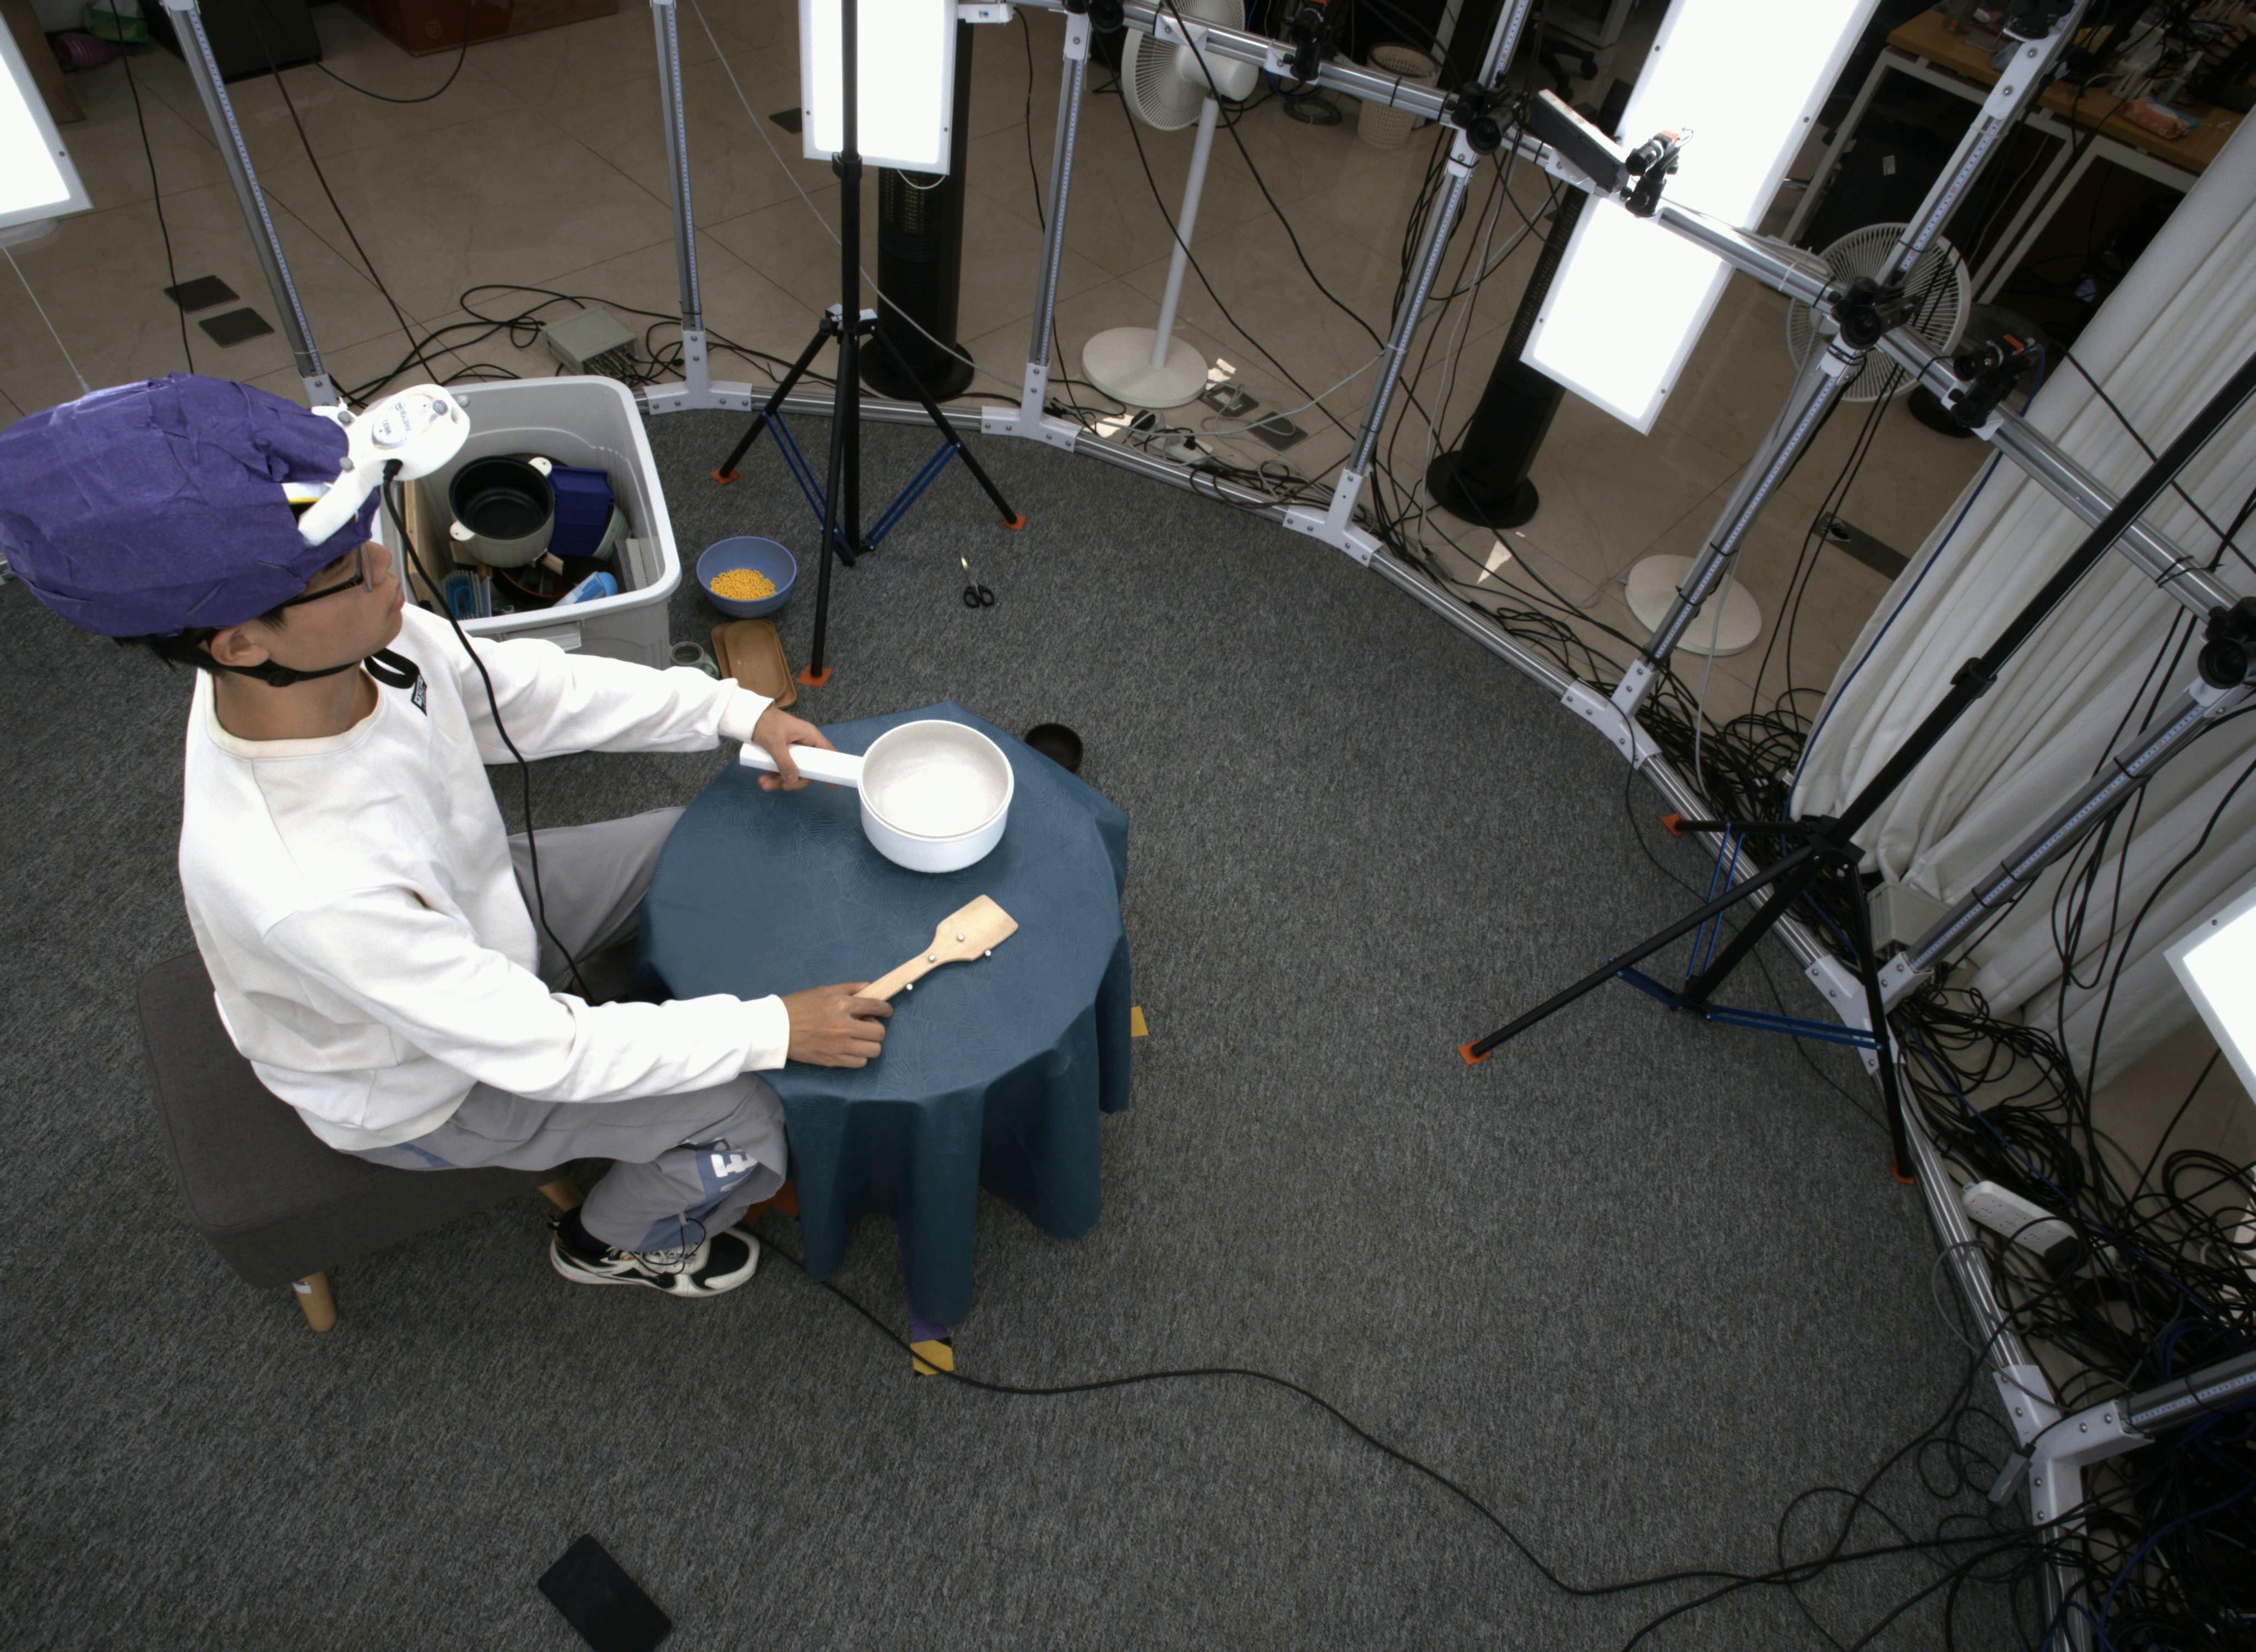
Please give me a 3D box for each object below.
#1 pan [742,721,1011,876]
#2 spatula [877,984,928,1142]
[{"bbox_3d":[-0.333,-0.043,1.737,0.352,0.104,0.198,9,56,-3],"label":"pan"},{"bbox_3d":[-0.389,0.384,2.164,0.072,0.011,0.286,-6,55,-15],"label":"spatula"}]
